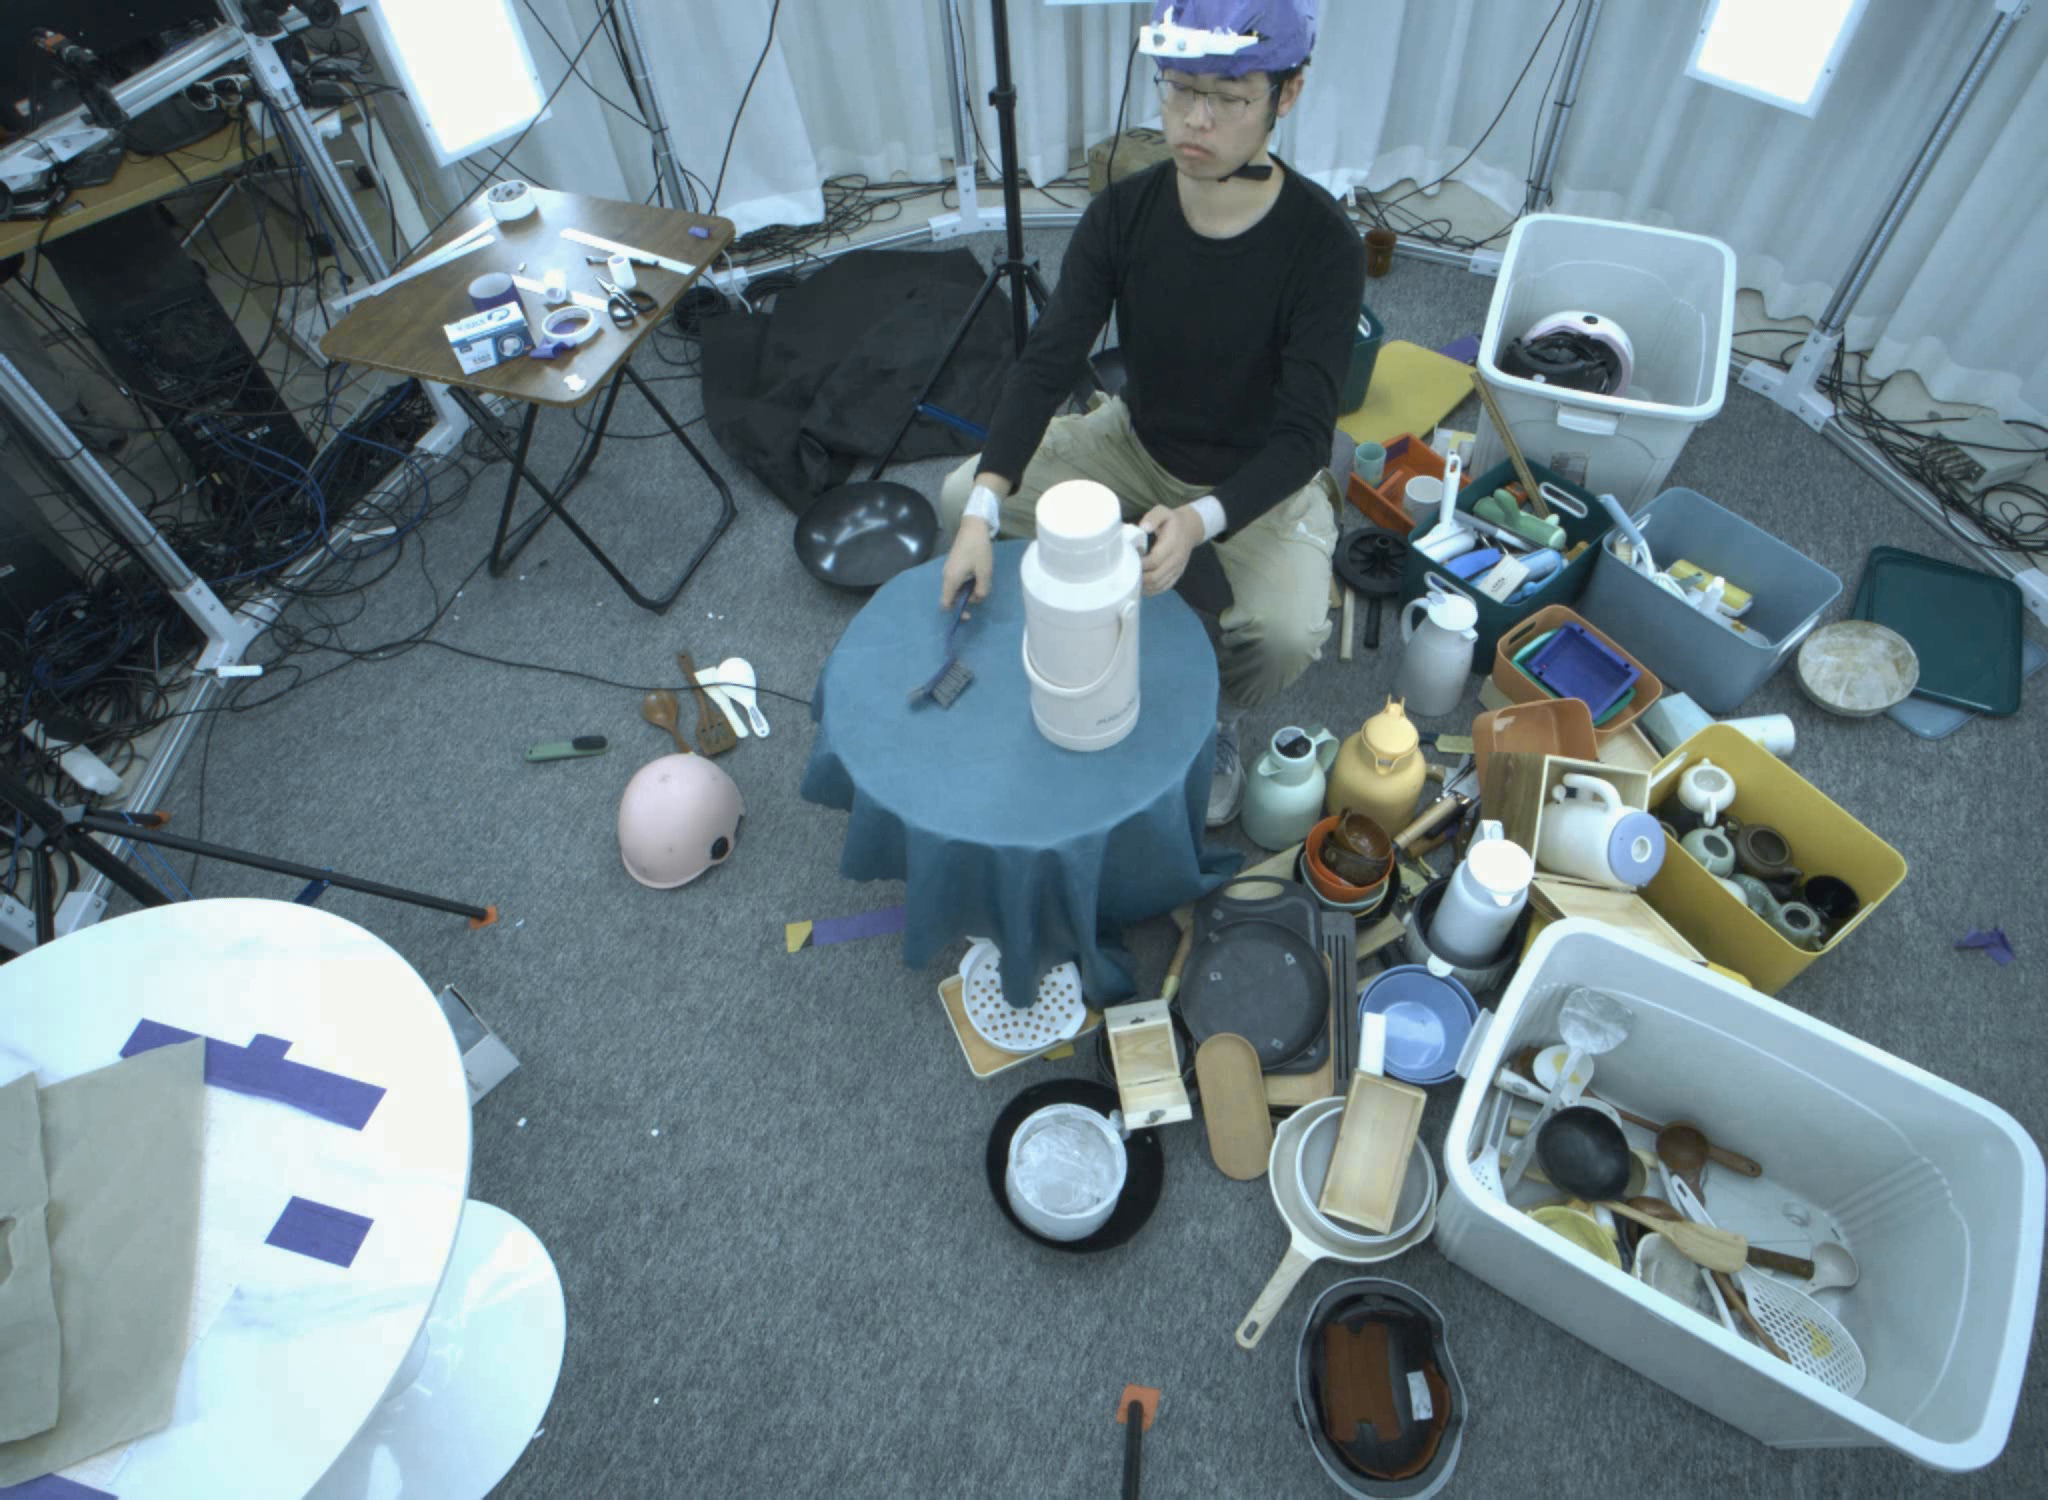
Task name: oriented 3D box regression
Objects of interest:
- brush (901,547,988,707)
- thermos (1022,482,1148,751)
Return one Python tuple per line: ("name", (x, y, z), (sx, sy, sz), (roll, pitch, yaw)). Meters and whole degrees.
("brush", (-0.115, -0.193, 1.880), (0.096, 0.033, 0.272), (11, 69, 0))
("thermos", (0.092, -0.185, 1.671), (0.172, 0.411, 0.208), (36, 64, 27))
